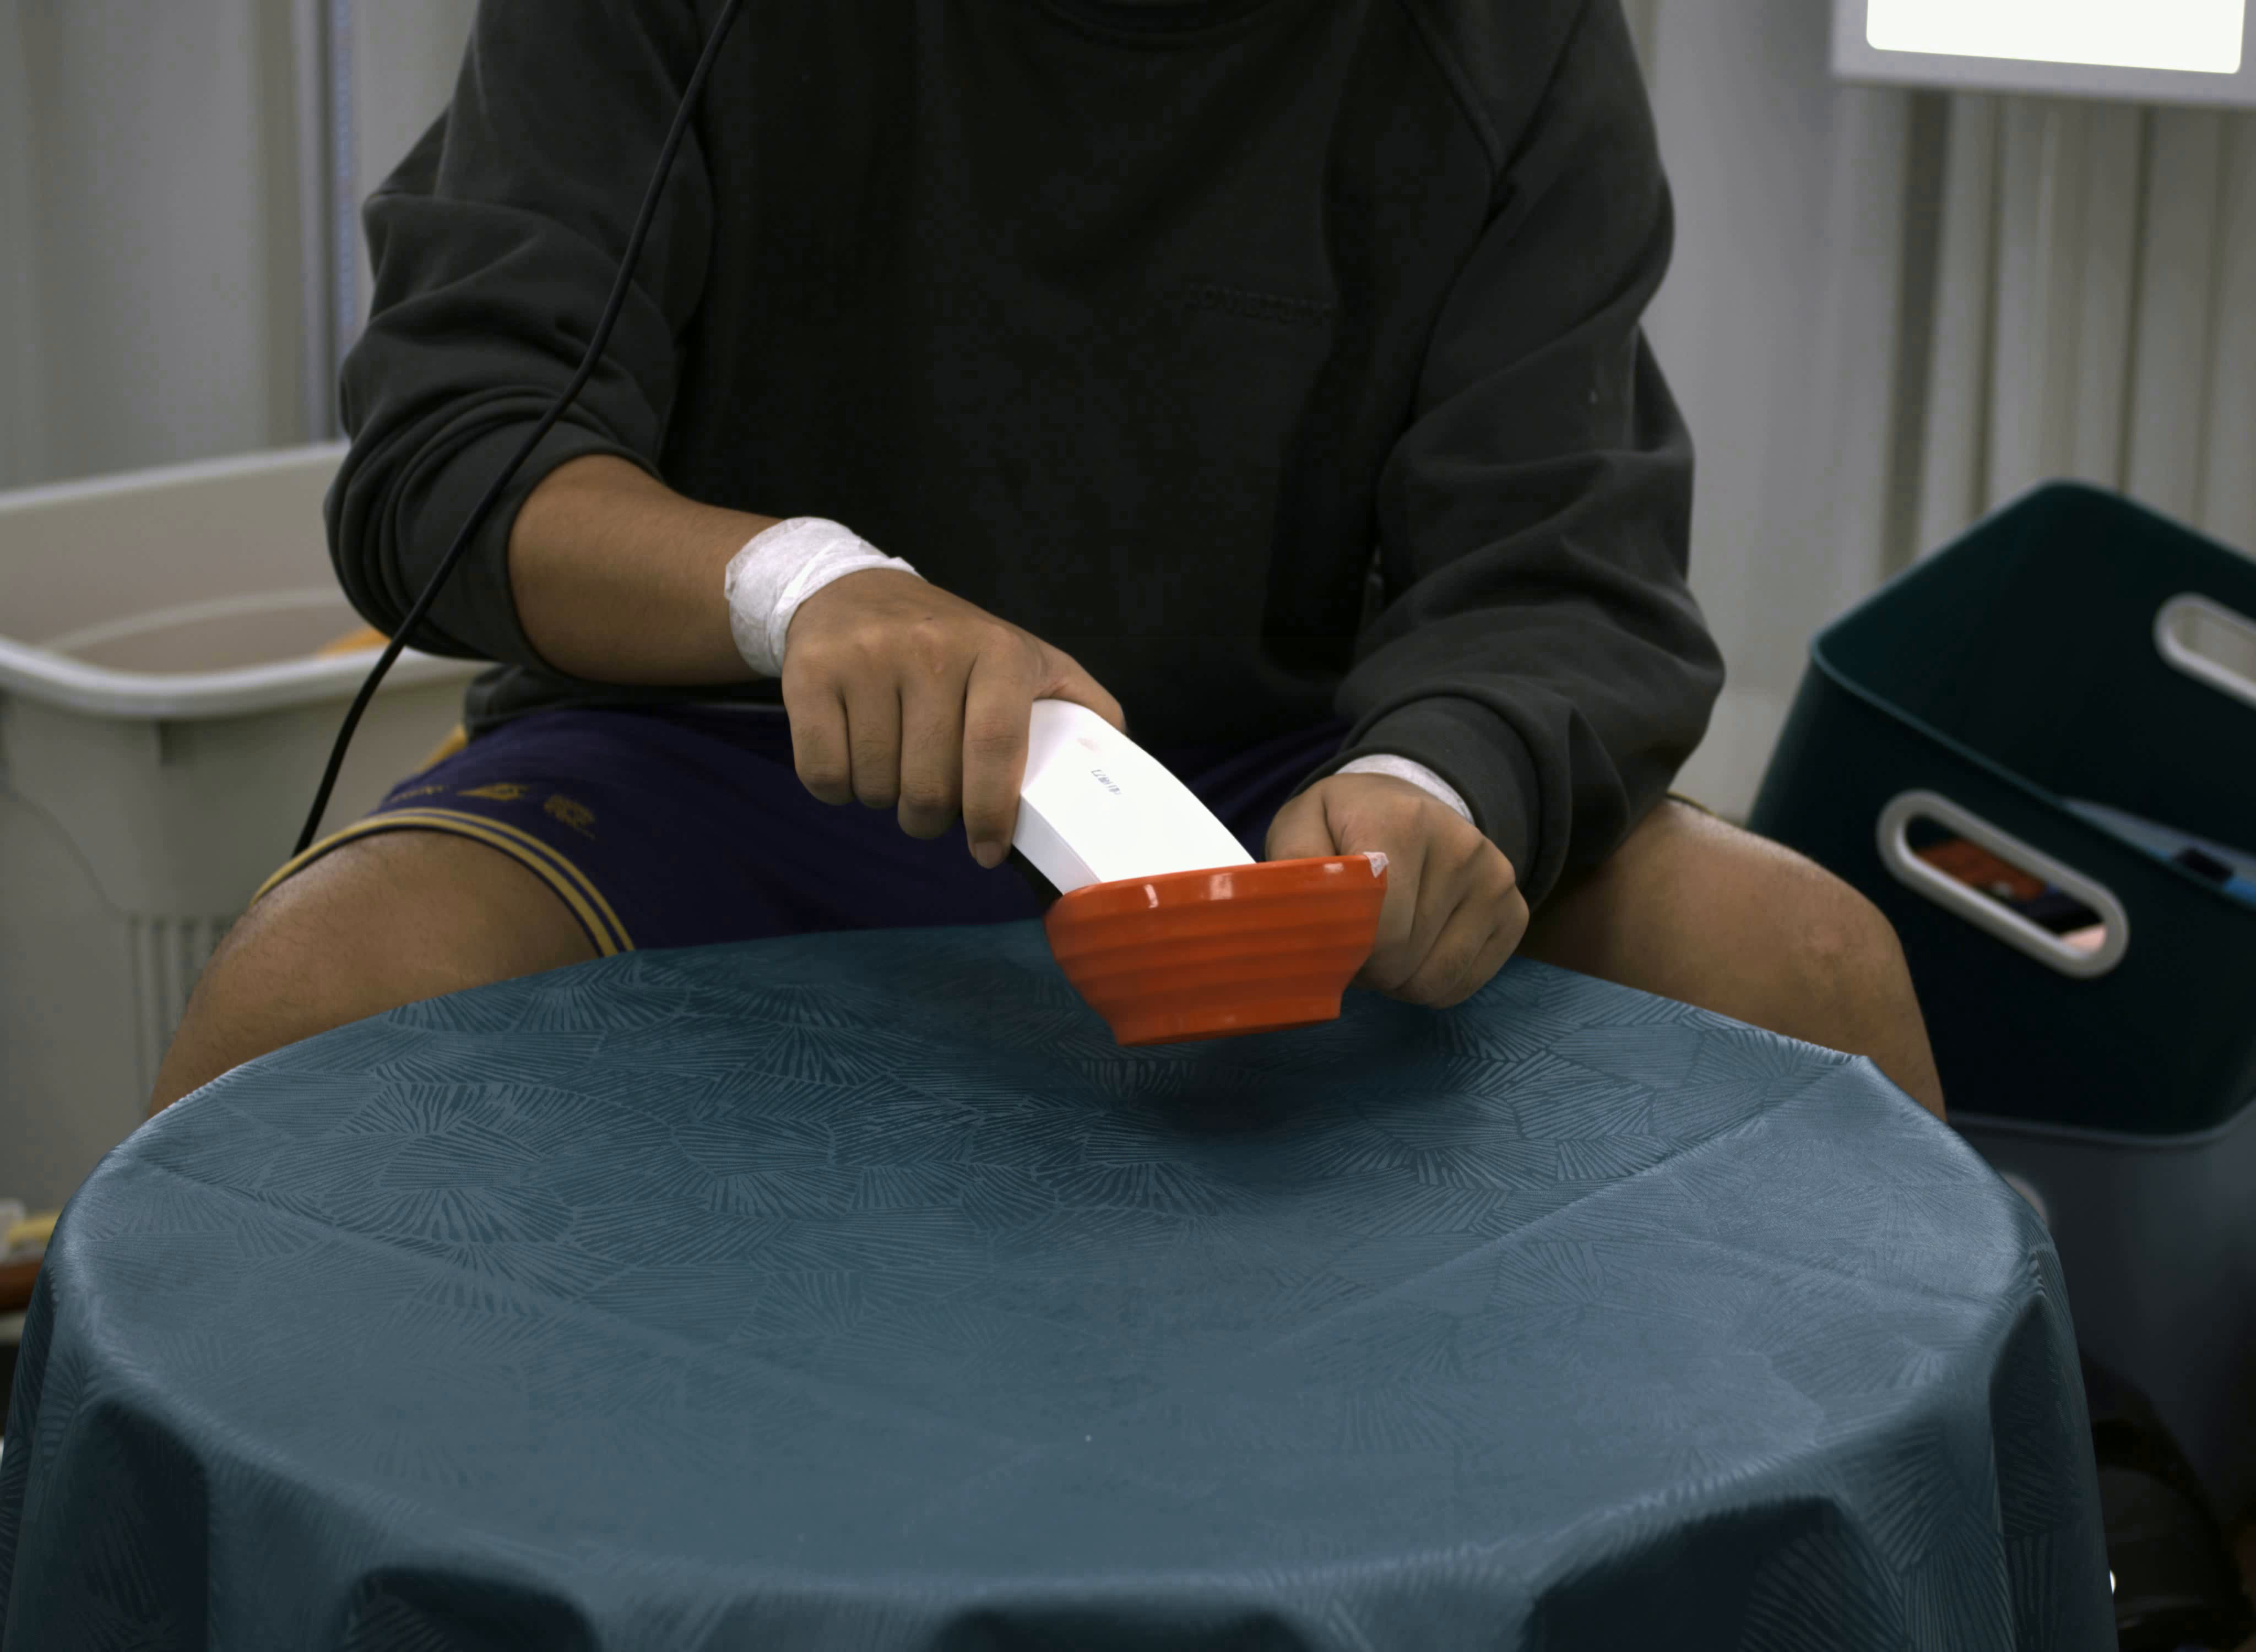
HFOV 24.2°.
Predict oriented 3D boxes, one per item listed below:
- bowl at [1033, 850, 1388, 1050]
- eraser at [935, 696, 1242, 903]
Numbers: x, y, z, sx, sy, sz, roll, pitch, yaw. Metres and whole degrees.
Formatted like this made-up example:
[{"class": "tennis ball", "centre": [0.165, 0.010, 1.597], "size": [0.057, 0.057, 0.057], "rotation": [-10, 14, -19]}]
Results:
[{"class": "bowl", "centre": [0.029, 0.041, 1.679], "size": [0.118, 0.051, 0.119], "rotation": [-8, -5, 0]}, {"class": "eraser", "centre": [-0.009, 0.000, 1.725], "size": [0.064, 0.035, 0.129], "rotation": [-7, 40, -37]}]
